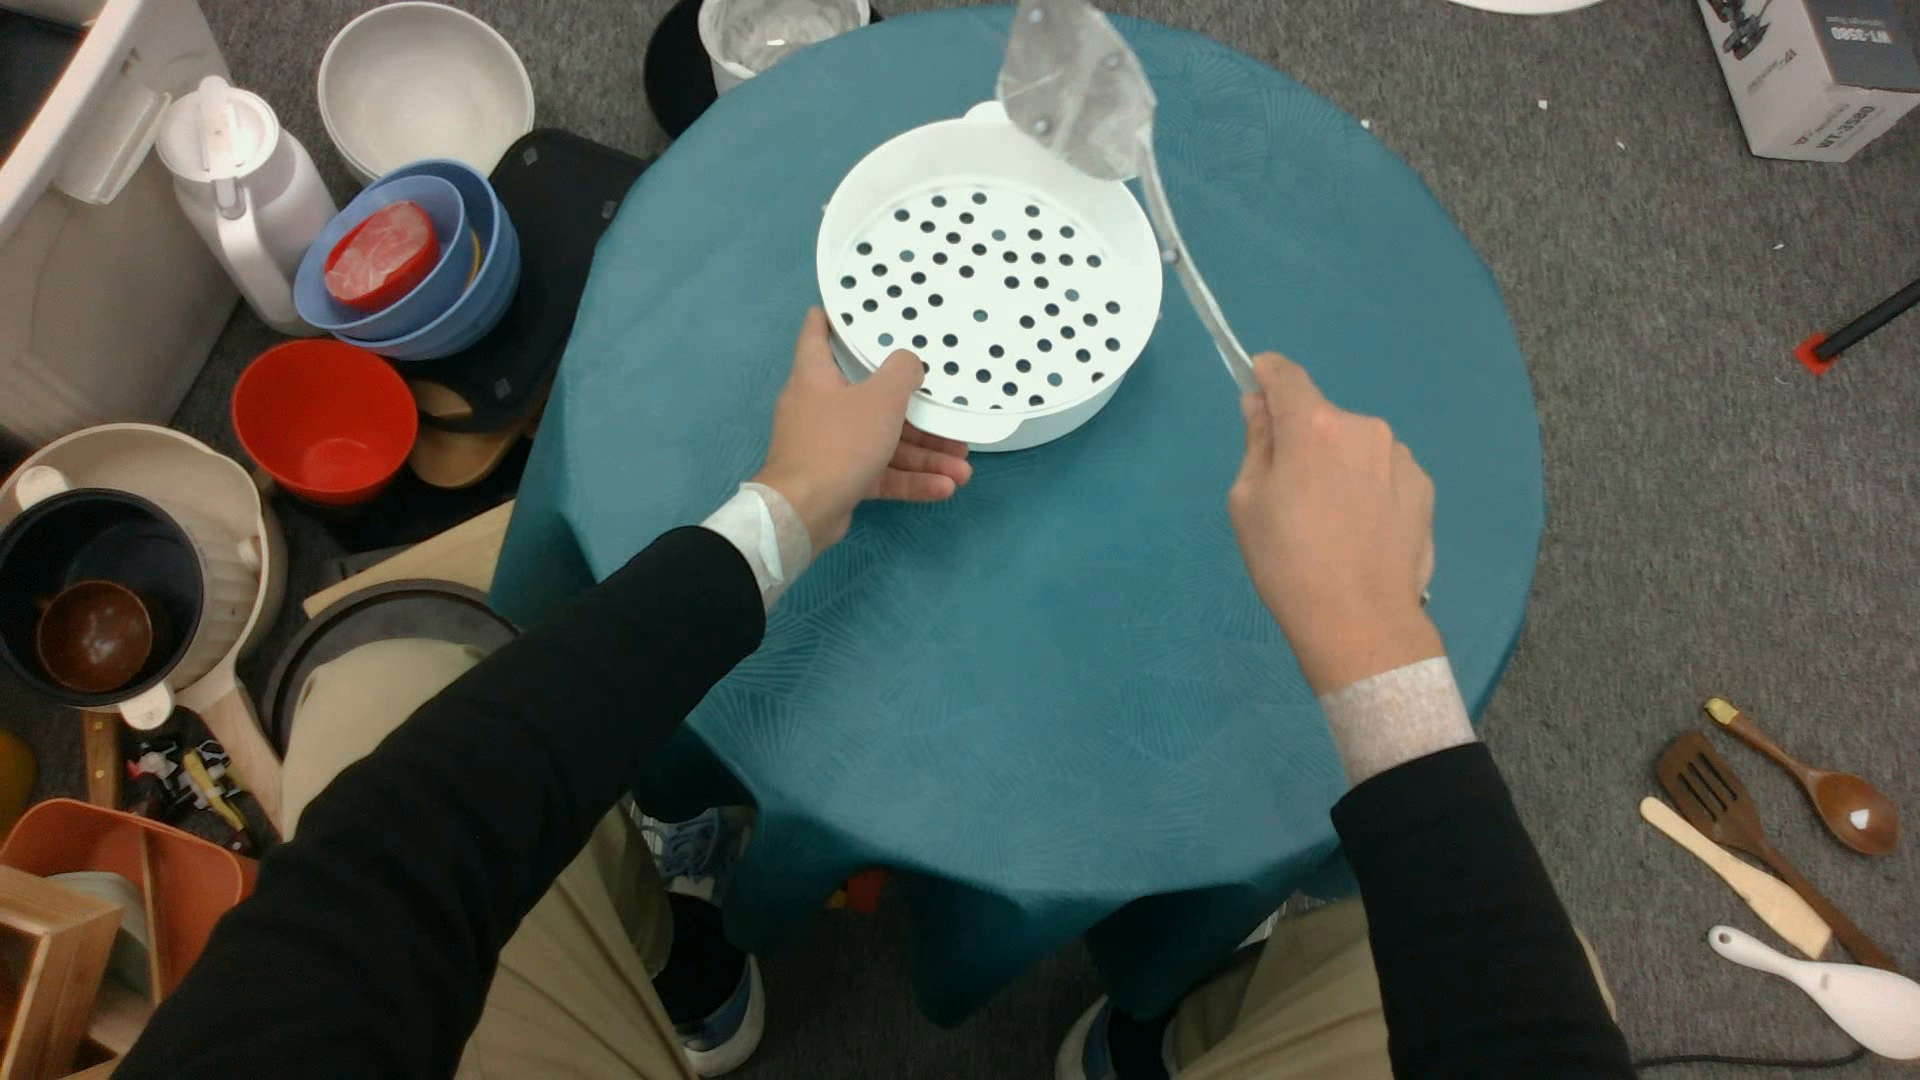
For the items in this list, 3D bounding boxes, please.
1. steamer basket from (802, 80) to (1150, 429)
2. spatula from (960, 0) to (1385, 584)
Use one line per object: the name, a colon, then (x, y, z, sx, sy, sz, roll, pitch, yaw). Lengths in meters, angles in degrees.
steamer basket: (0.008, -0.163, 0.821, 0.202, 0.069, 0.231, 13, 69, -1)
spatula: (0.102, -0.129, 0.686, 0.045, 0.098, 0.365, -19, 68, -22)
